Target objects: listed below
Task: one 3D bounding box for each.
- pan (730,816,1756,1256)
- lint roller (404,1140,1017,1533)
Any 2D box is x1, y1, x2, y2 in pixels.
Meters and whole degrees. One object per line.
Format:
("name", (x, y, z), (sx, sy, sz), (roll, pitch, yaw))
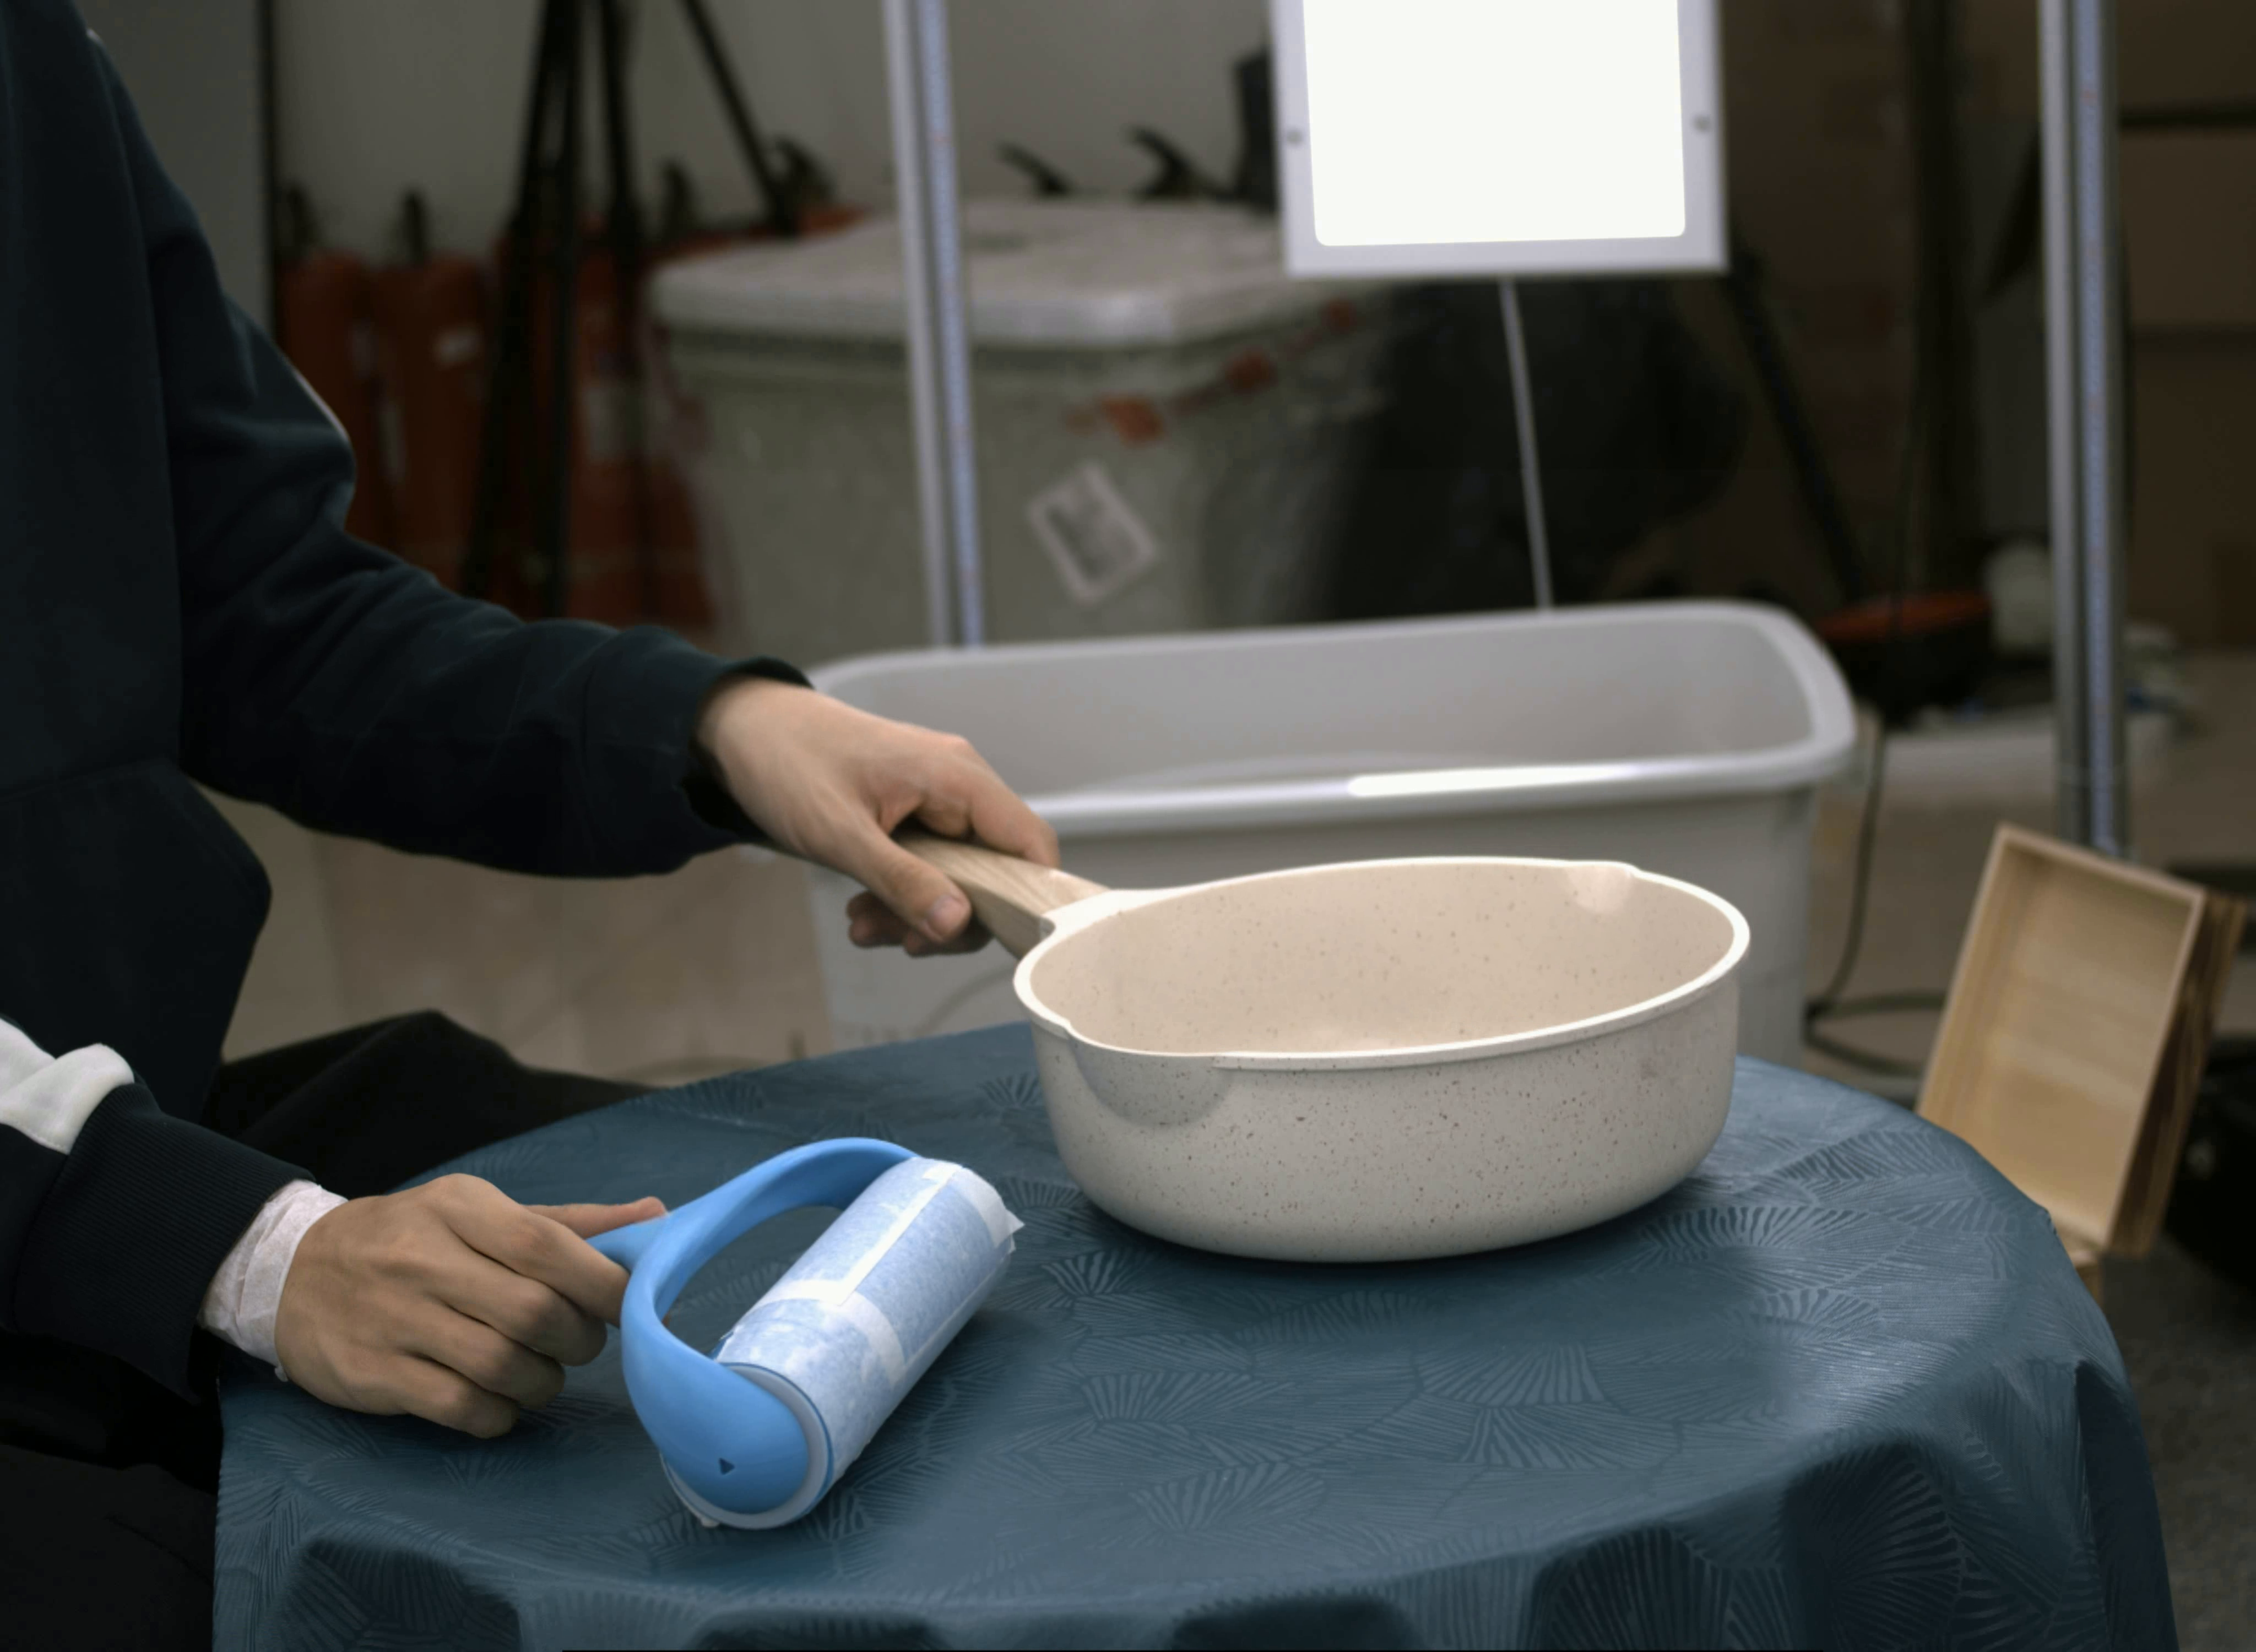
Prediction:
("pan", (0.023, 0.063, 1.936), (0.444, 0.102, 0.257), (7, 19, 43))
("lint roller", (-0.142, 0.156, 1.708), (0.182, 0.068, 0.226), (-1, 16, 14))
